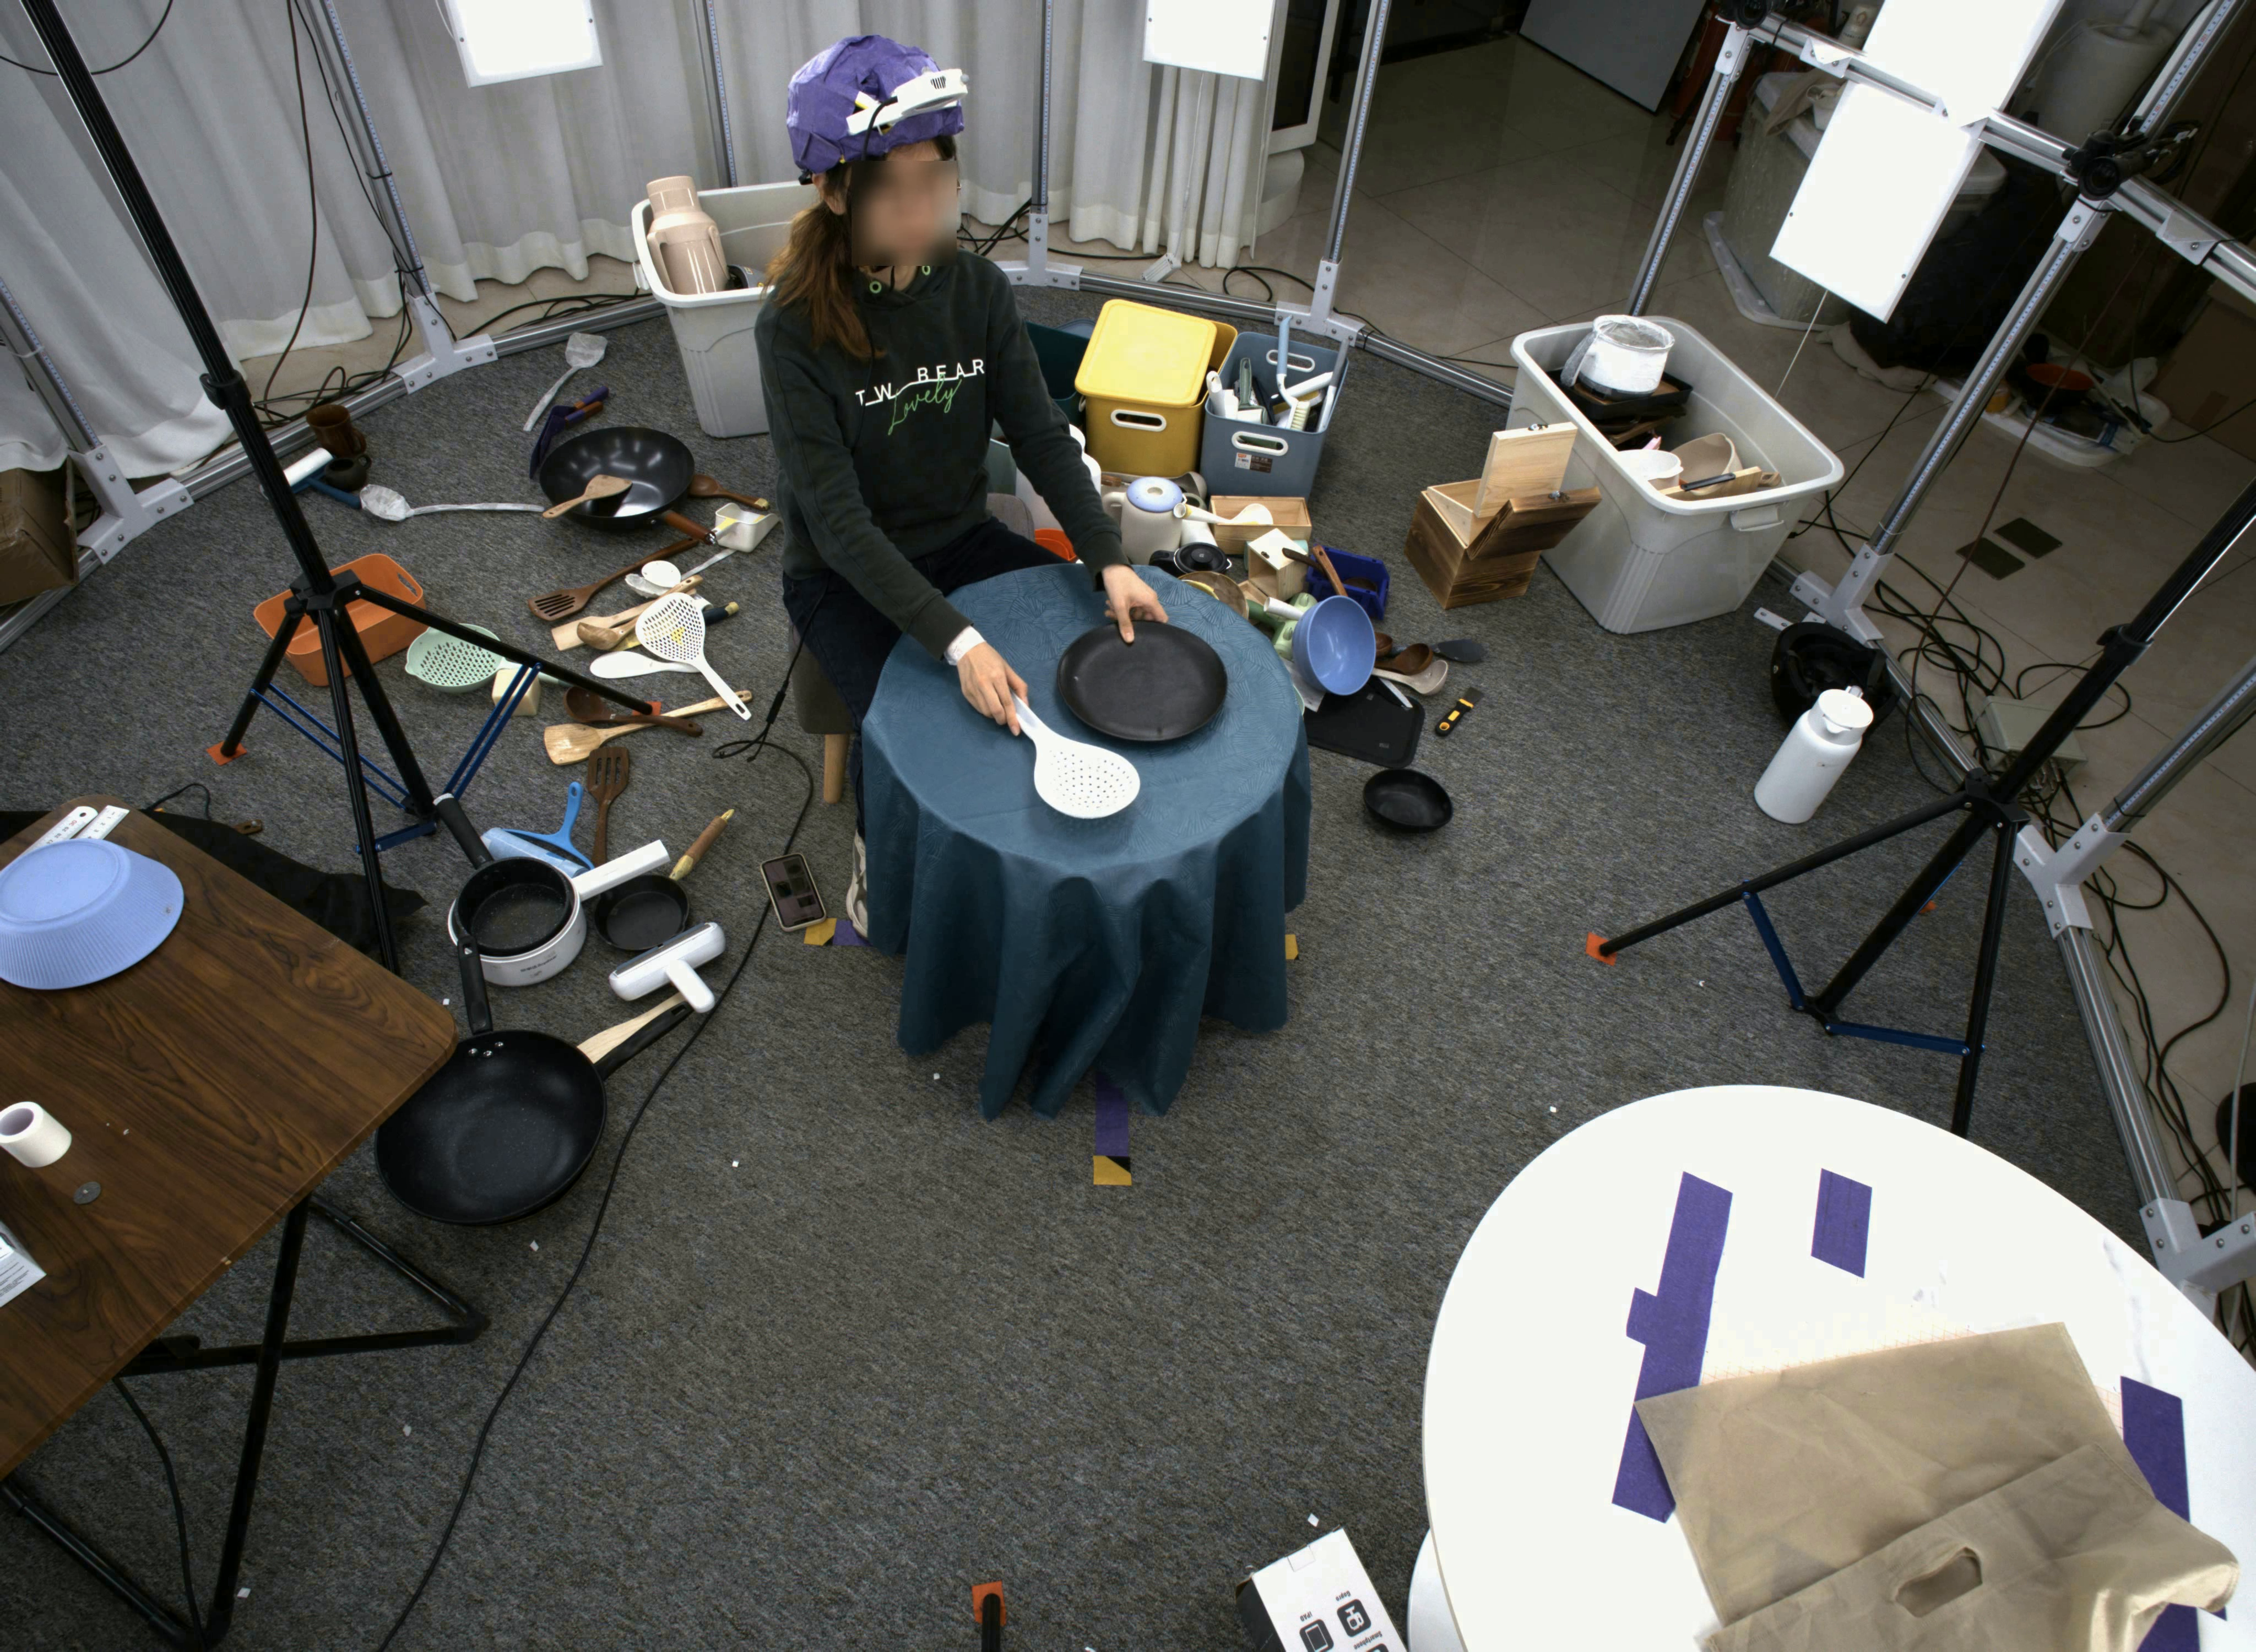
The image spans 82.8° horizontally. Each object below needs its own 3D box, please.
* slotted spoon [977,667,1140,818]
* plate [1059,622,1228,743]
[{"bbox_3d":[-0.112,-0.119,1.750,0.136,0.044,0.357,-19,52,-28],"label":"slotted spoon"},{"bbox_3d":[0.022,-0.204,1.847,0.244,0.023,0.250,1,49,-2],"label":"plate"}]
